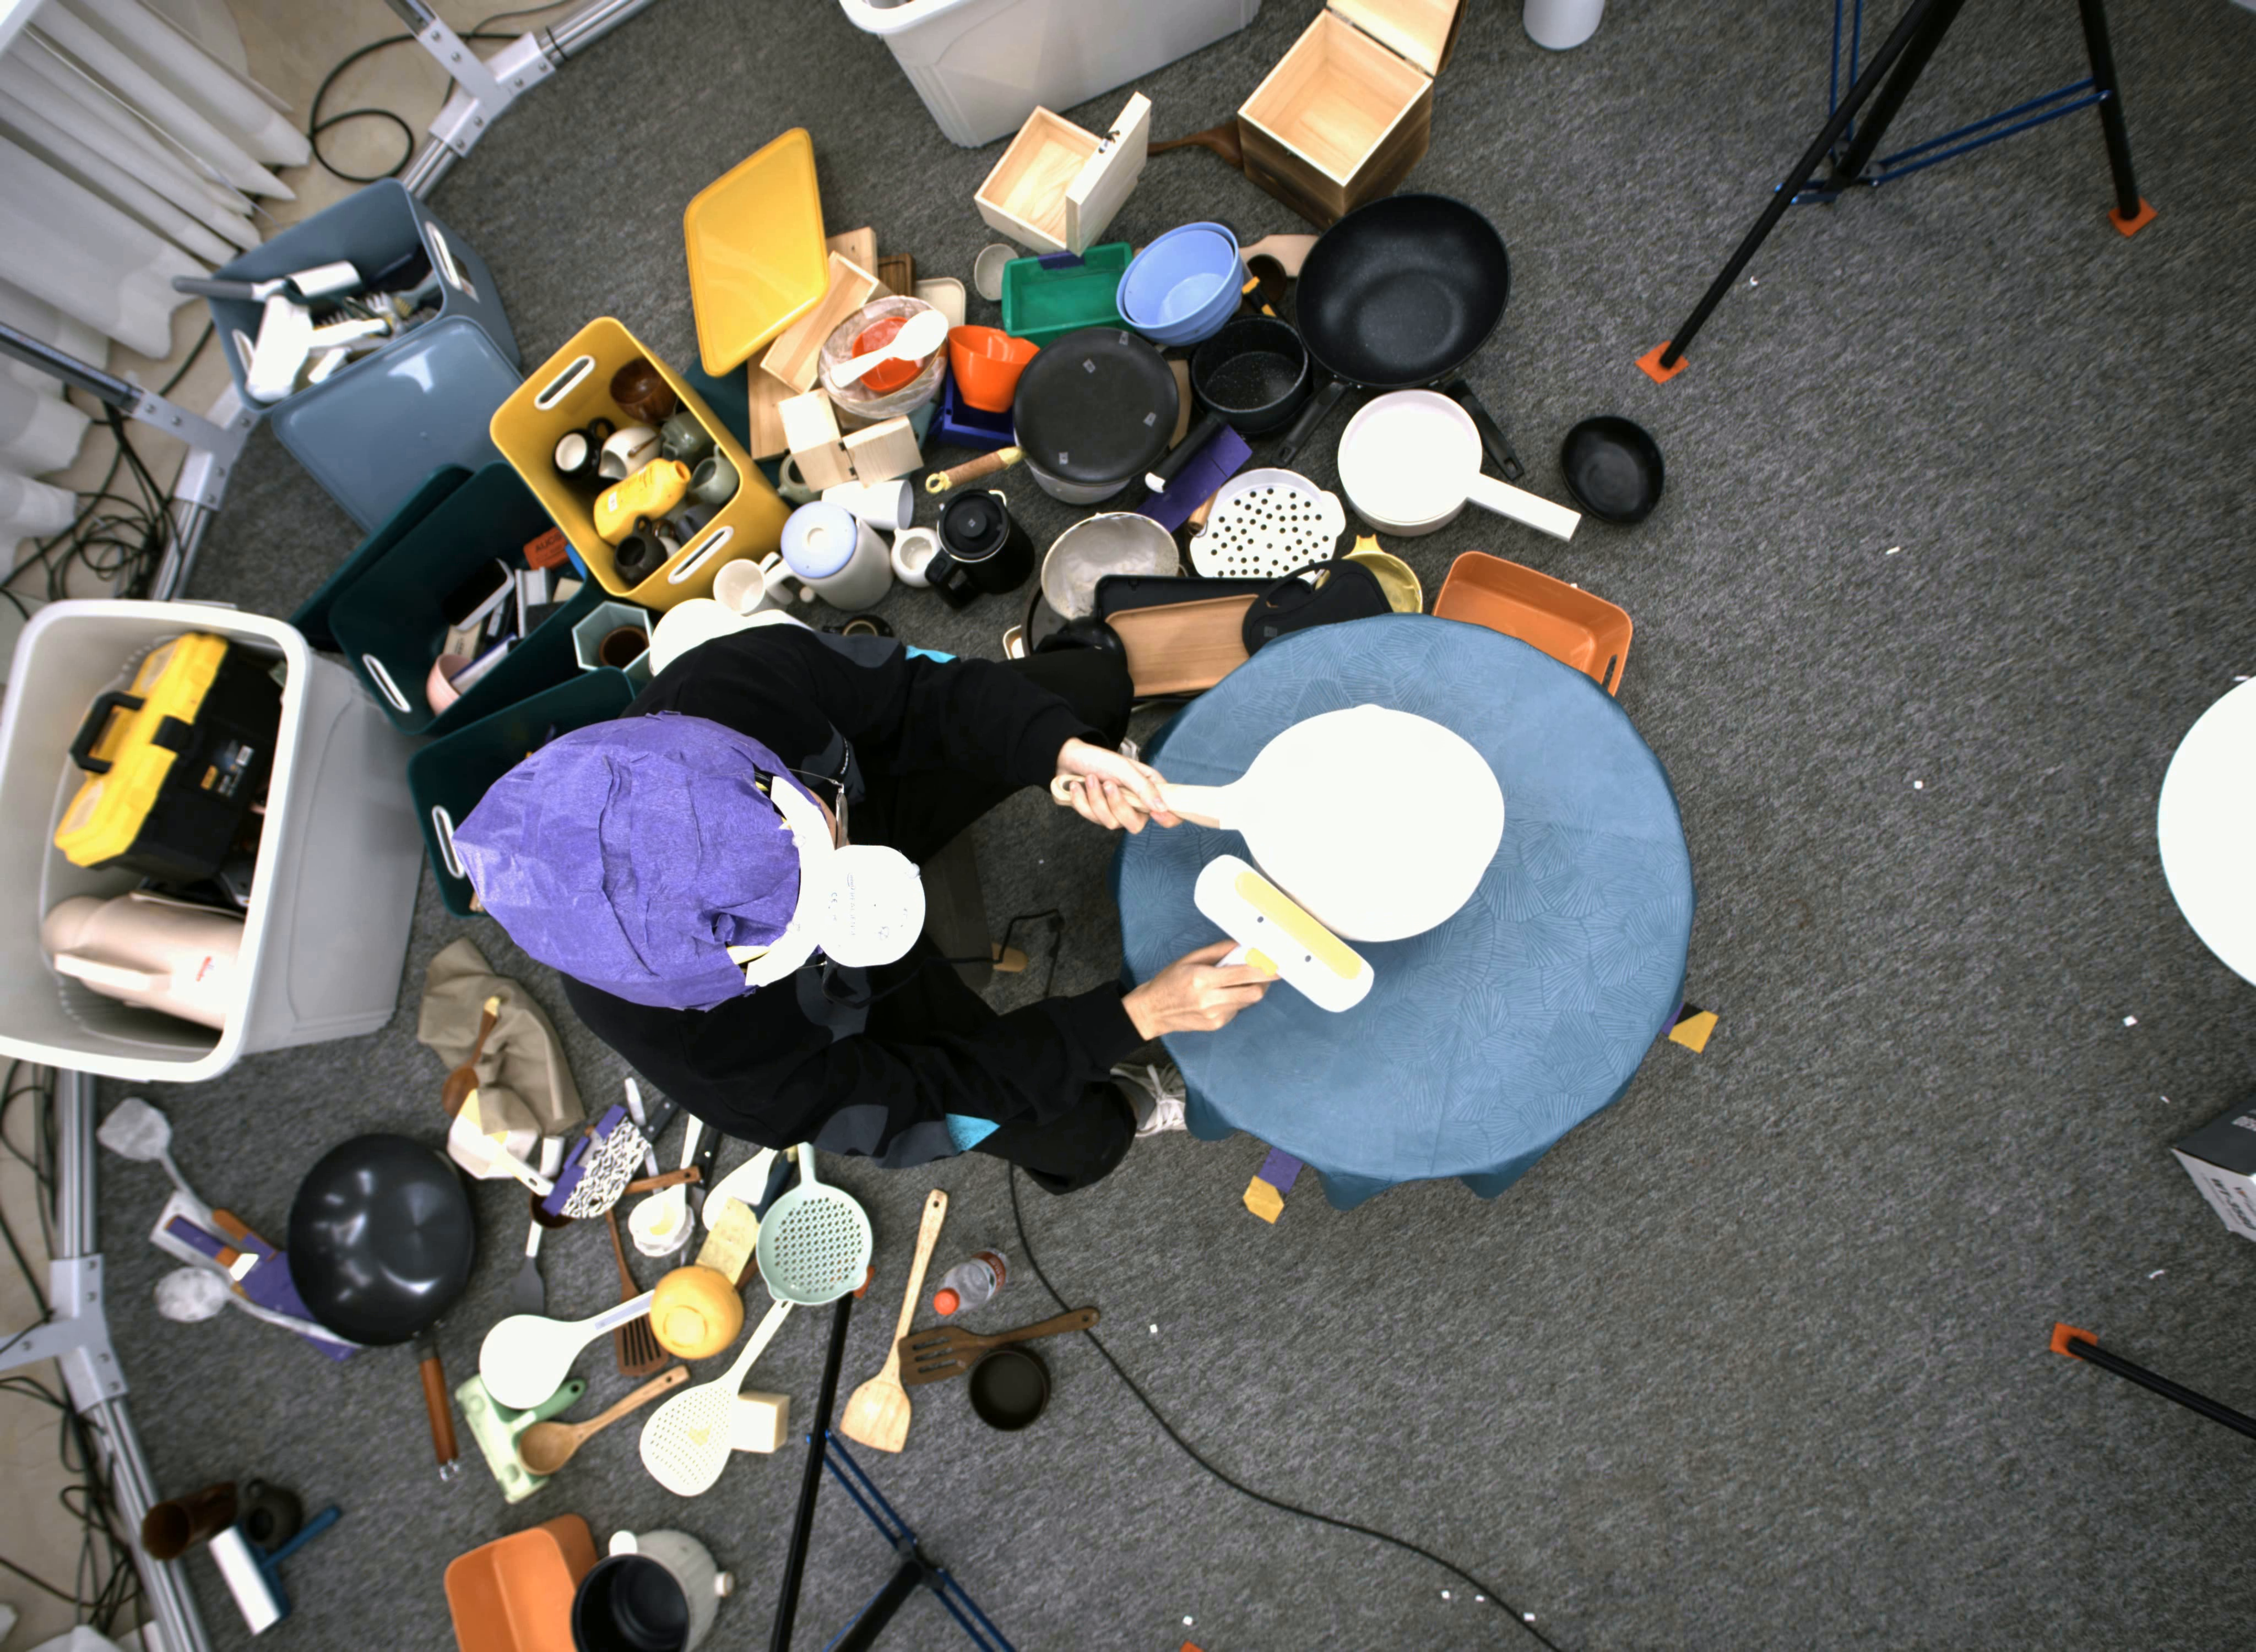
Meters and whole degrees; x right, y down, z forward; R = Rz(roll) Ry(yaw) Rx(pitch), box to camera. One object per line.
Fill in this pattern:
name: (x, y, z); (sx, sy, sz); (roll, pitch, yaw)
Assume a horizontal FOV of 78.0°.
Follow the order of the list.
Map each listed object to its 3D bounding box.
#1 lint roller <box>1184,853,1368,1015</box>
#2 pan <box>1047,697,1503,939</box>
lint roller: (0.117, 0.127, 1.350); (0.193, 0.196, 0.072); (33, 59, -4)
pan: (0.143, -0.006, 1.357); (0.436, 0.104, 0.257); (1, 58, 7)
